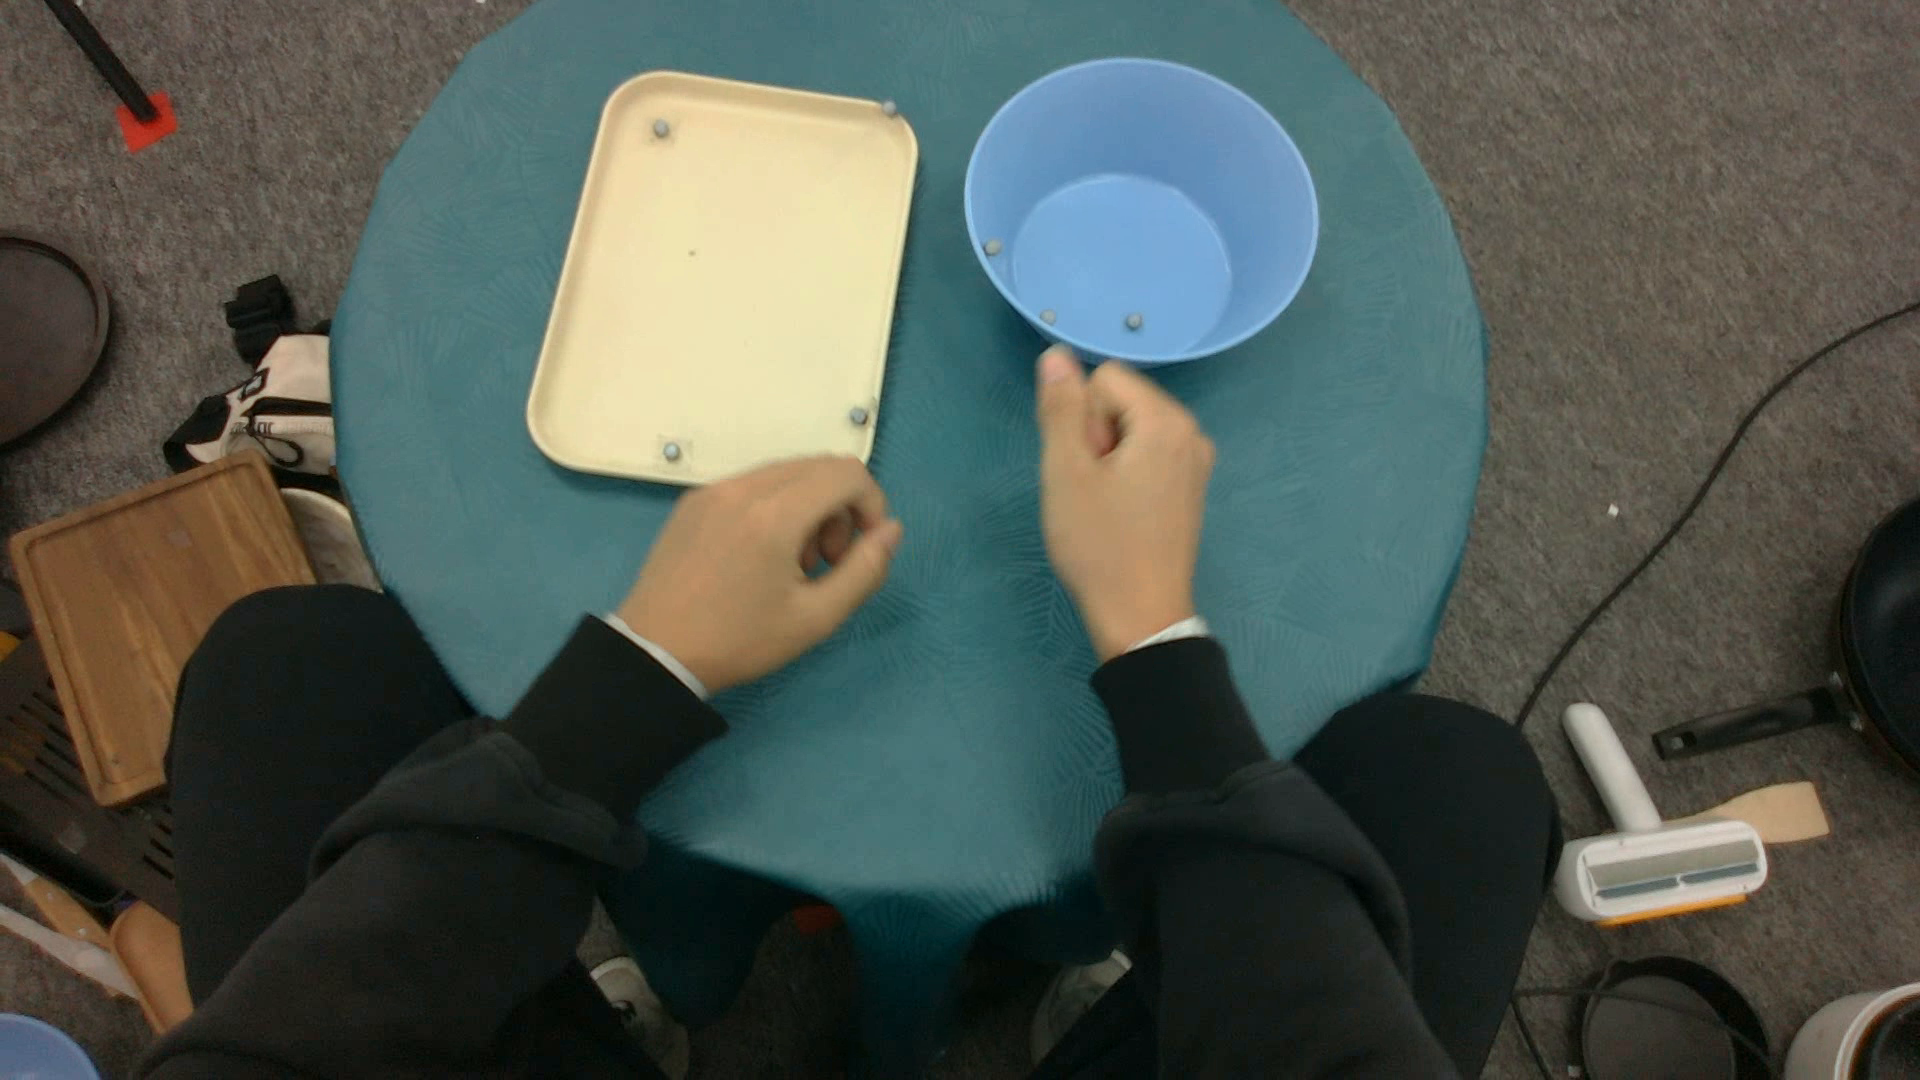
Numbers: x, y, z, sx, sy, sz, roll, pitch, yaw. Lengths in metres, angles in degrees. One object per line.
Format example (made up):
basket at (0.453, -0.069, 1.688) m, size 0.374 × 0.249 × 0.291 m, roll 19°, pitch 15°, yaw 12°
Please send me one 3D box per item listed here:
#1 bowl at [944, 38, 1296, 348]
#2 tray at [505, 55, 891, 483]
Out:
bowl at (0.078, -0.166, 0.711) m, size 0.176 × 0.070 × 0.176 m, roll 1°, pitch 70°, yaw -3°
tray at (-0.130, -0.144, 0.714) m, size 0.171 × 0.017 × 0.240 m, roll 7°, pitch 69°, yaw -1°
